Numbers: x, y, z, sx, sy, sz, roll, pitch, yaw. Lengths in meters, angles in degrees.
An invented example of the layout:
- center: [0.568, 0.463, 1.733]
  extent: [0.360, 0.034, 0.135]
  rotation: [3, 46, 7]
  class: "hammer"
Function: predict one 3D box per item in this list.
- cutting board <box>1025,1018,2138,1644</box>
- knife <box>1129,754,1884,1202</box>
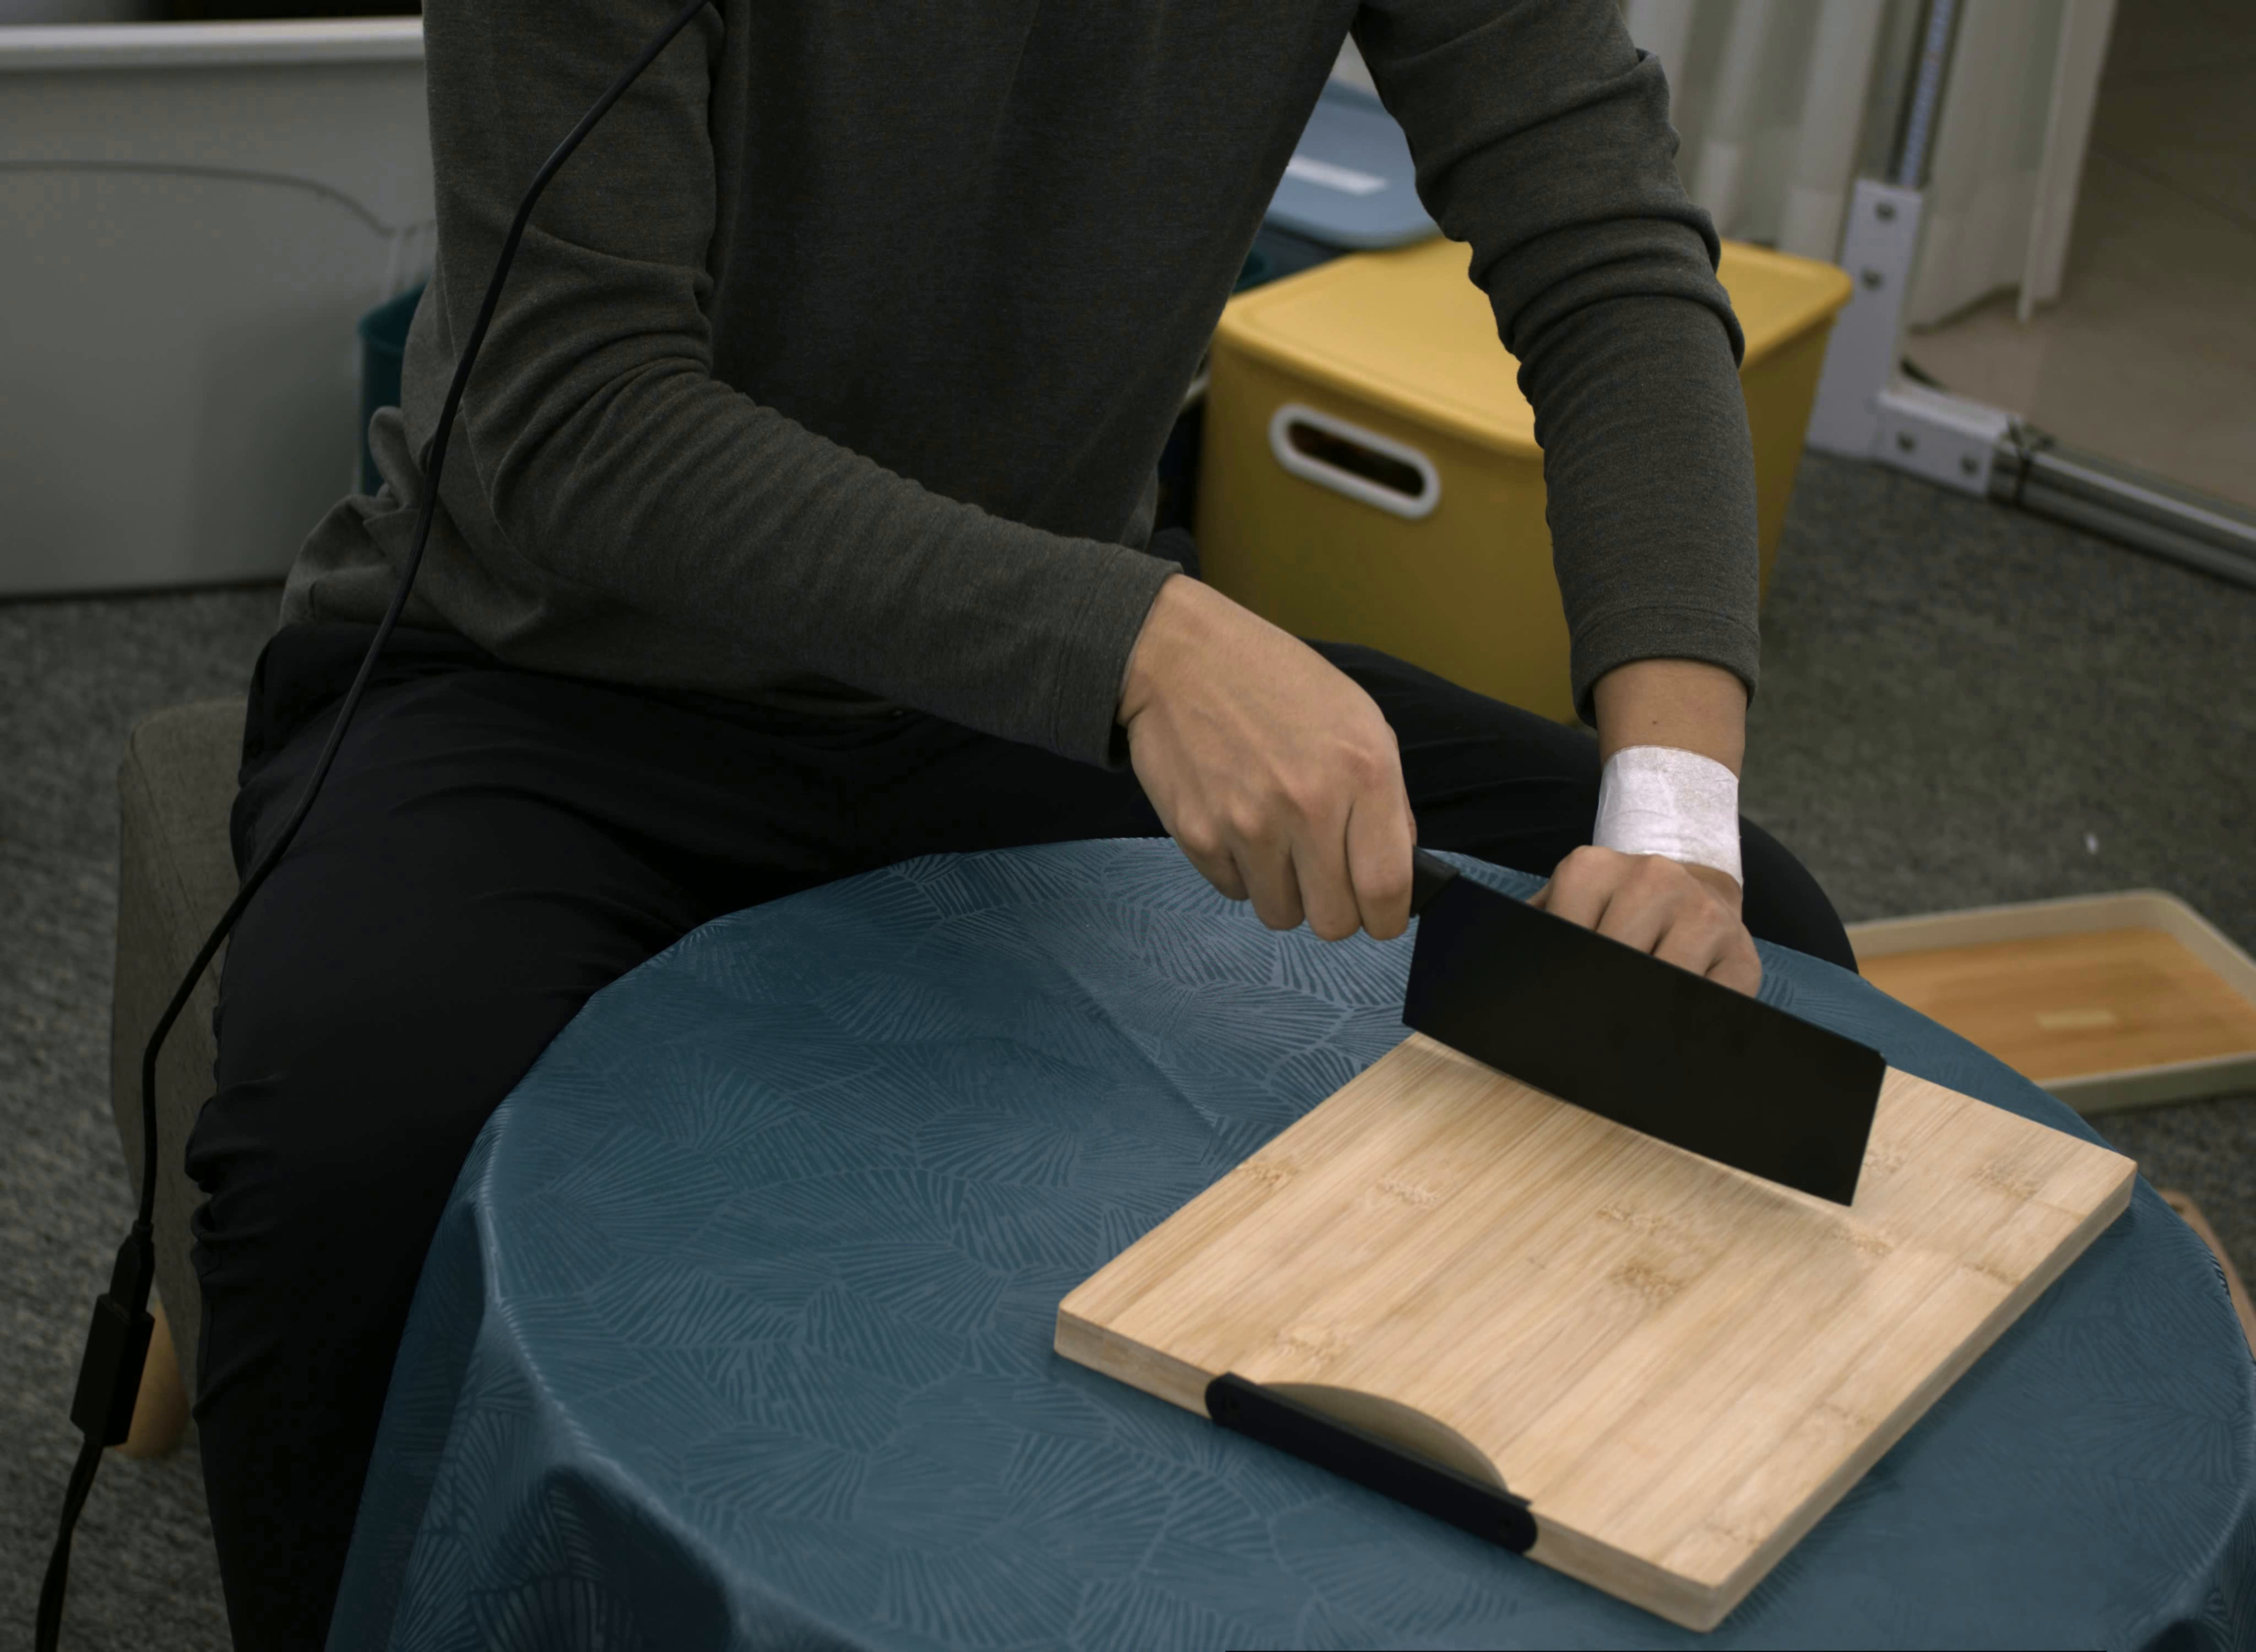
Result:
- center: [0.161, 0.145, 1.782]
  extent: [0.252, 0.023, 0.348]
  rotation: [20, 29, 26]
  class: "cutting board"
- center: [0.127, 0.048, 1.855]
  extent: [0.304, 0.081, 0.021]
  rotation: [27, 30, 25]
  class: "knife"
